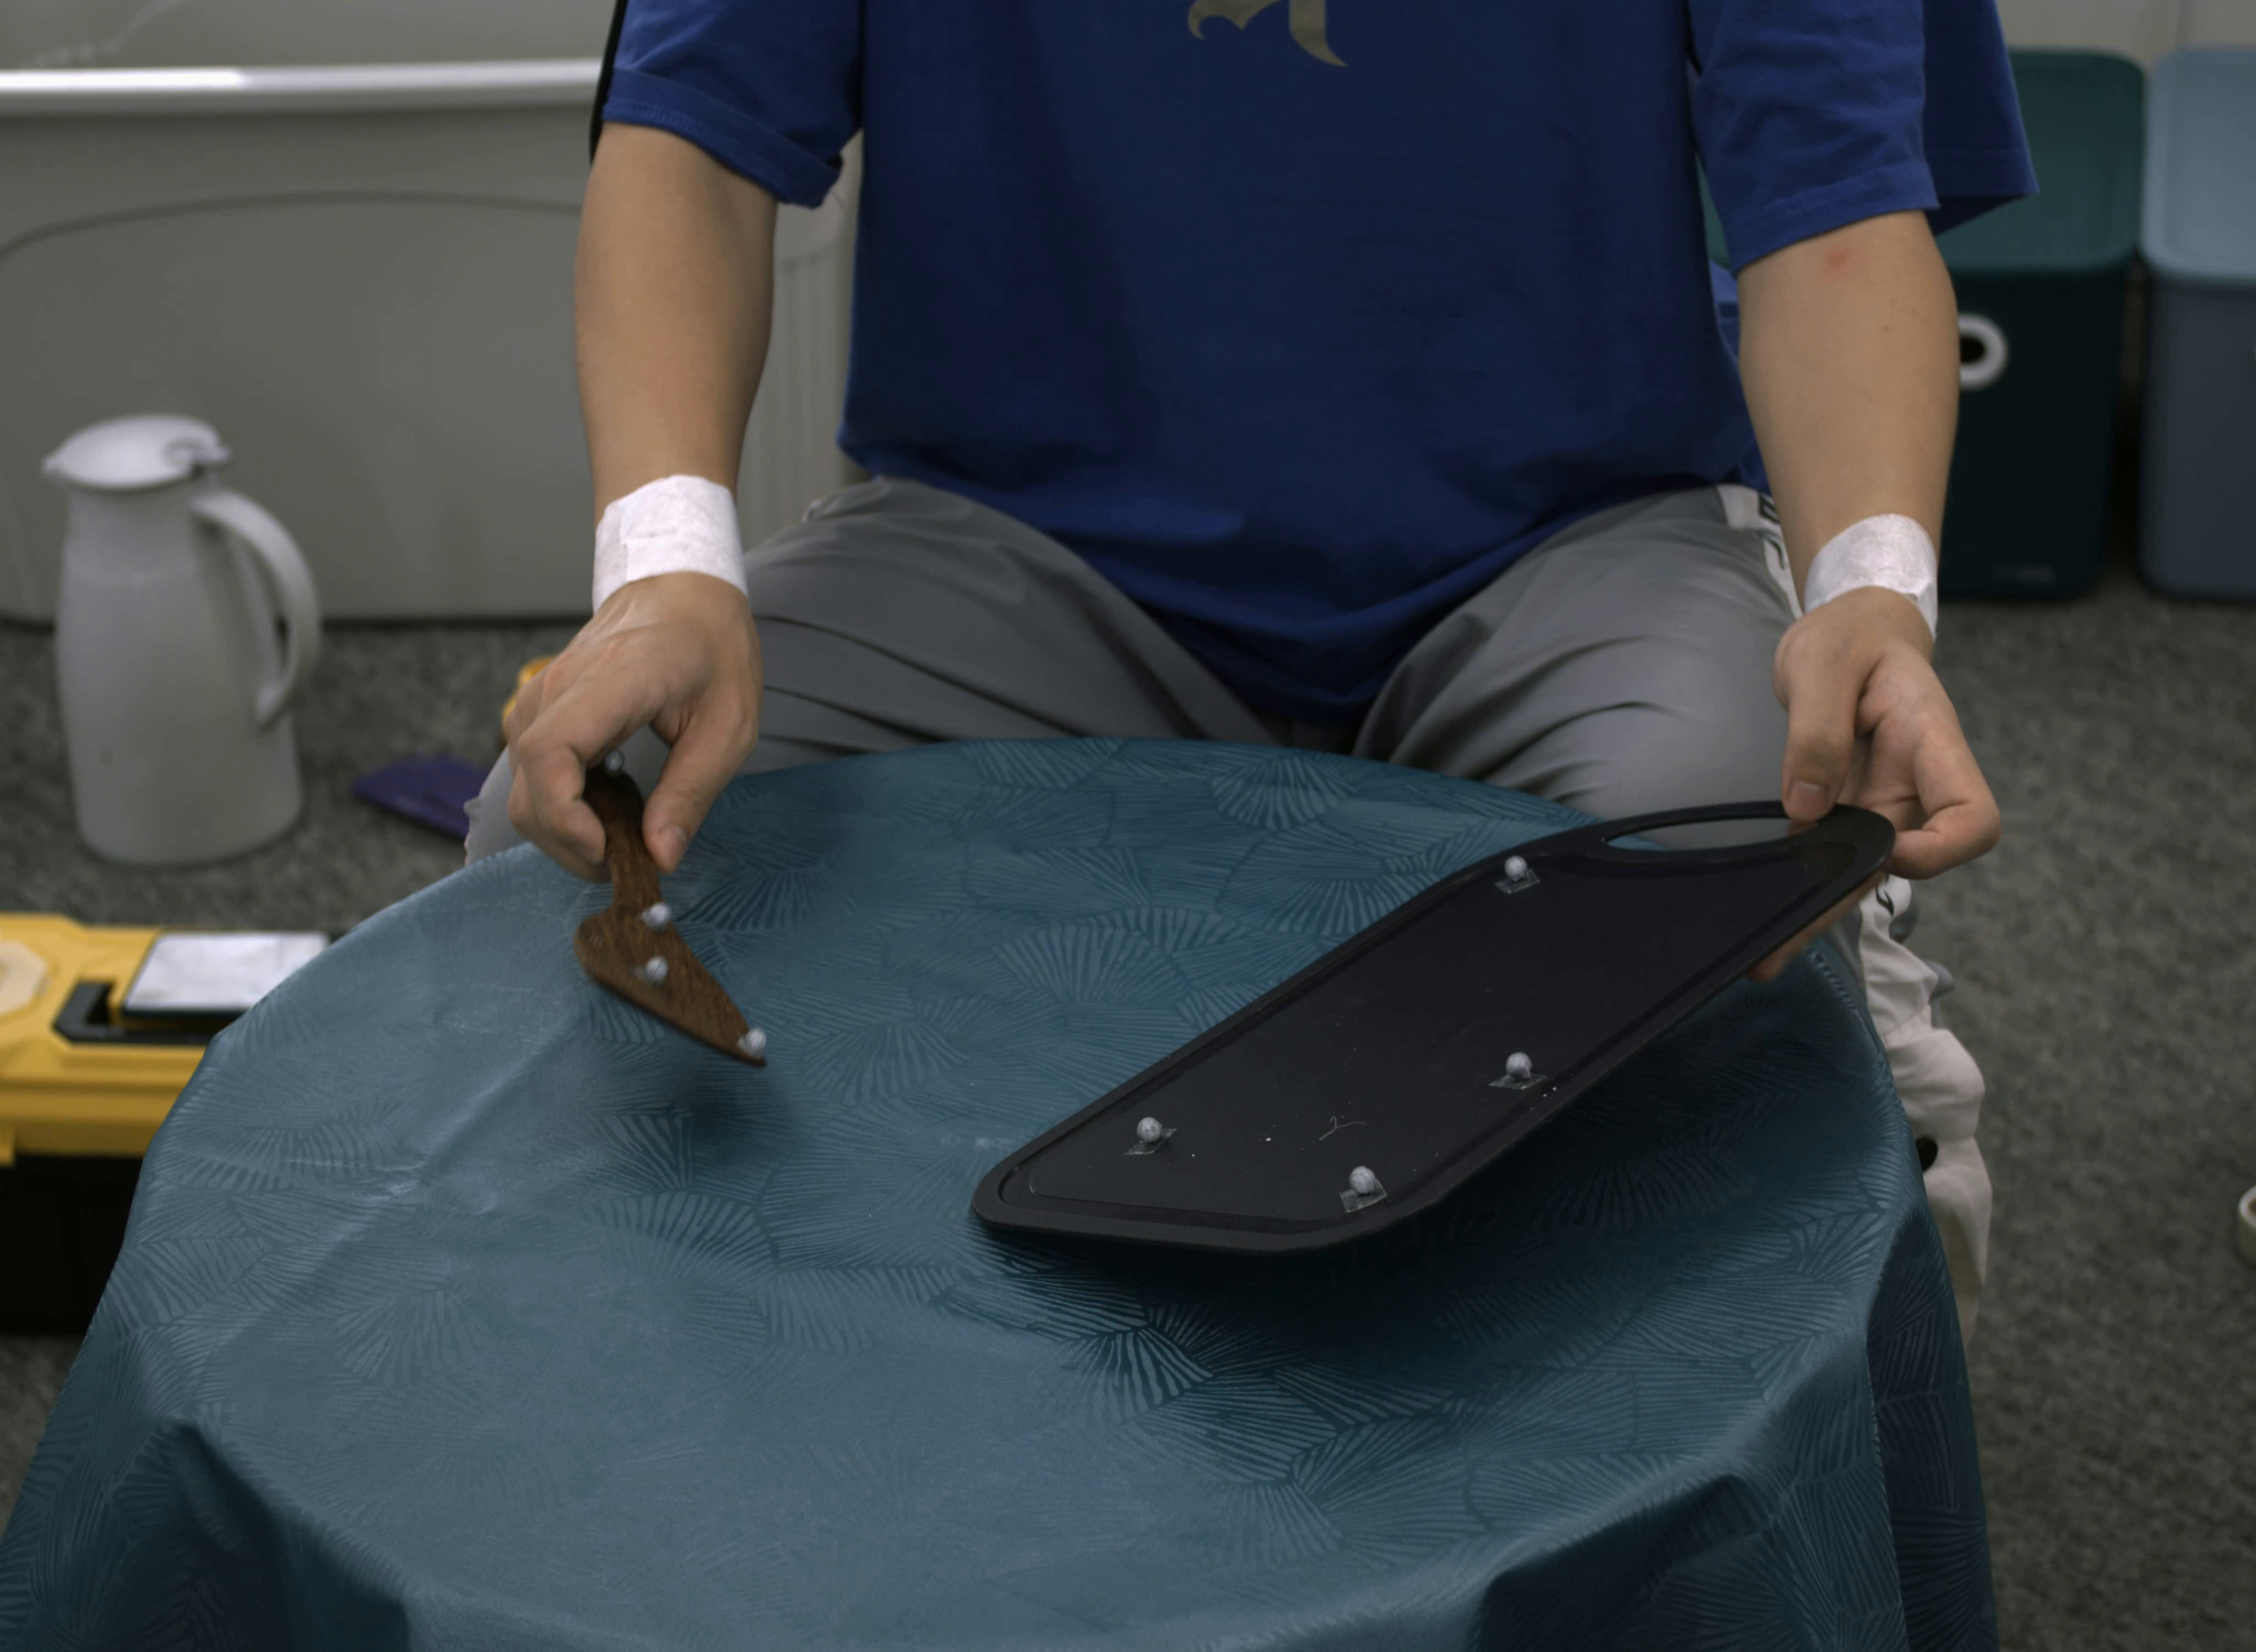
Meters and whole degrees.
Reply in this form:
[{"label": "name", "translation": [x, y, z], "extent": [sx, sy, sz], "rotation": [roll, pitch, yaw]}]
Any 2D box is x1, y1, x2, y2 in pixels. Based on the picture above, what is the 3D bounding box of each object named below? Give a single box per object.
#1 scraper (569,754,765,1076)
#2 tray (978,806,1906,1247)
[{"label": "scraper", "translation": [-0.172, 0.026, 1.970], "extent": [0.075, 0.011, 0.214], "rotation": [30, 17, -24]}, {"label": "tray", "translation": [0.110, 0.060, 1.878], "extent": [0.330, 0.010, 0.209], "rotation": [-31, 20, -37]}]
